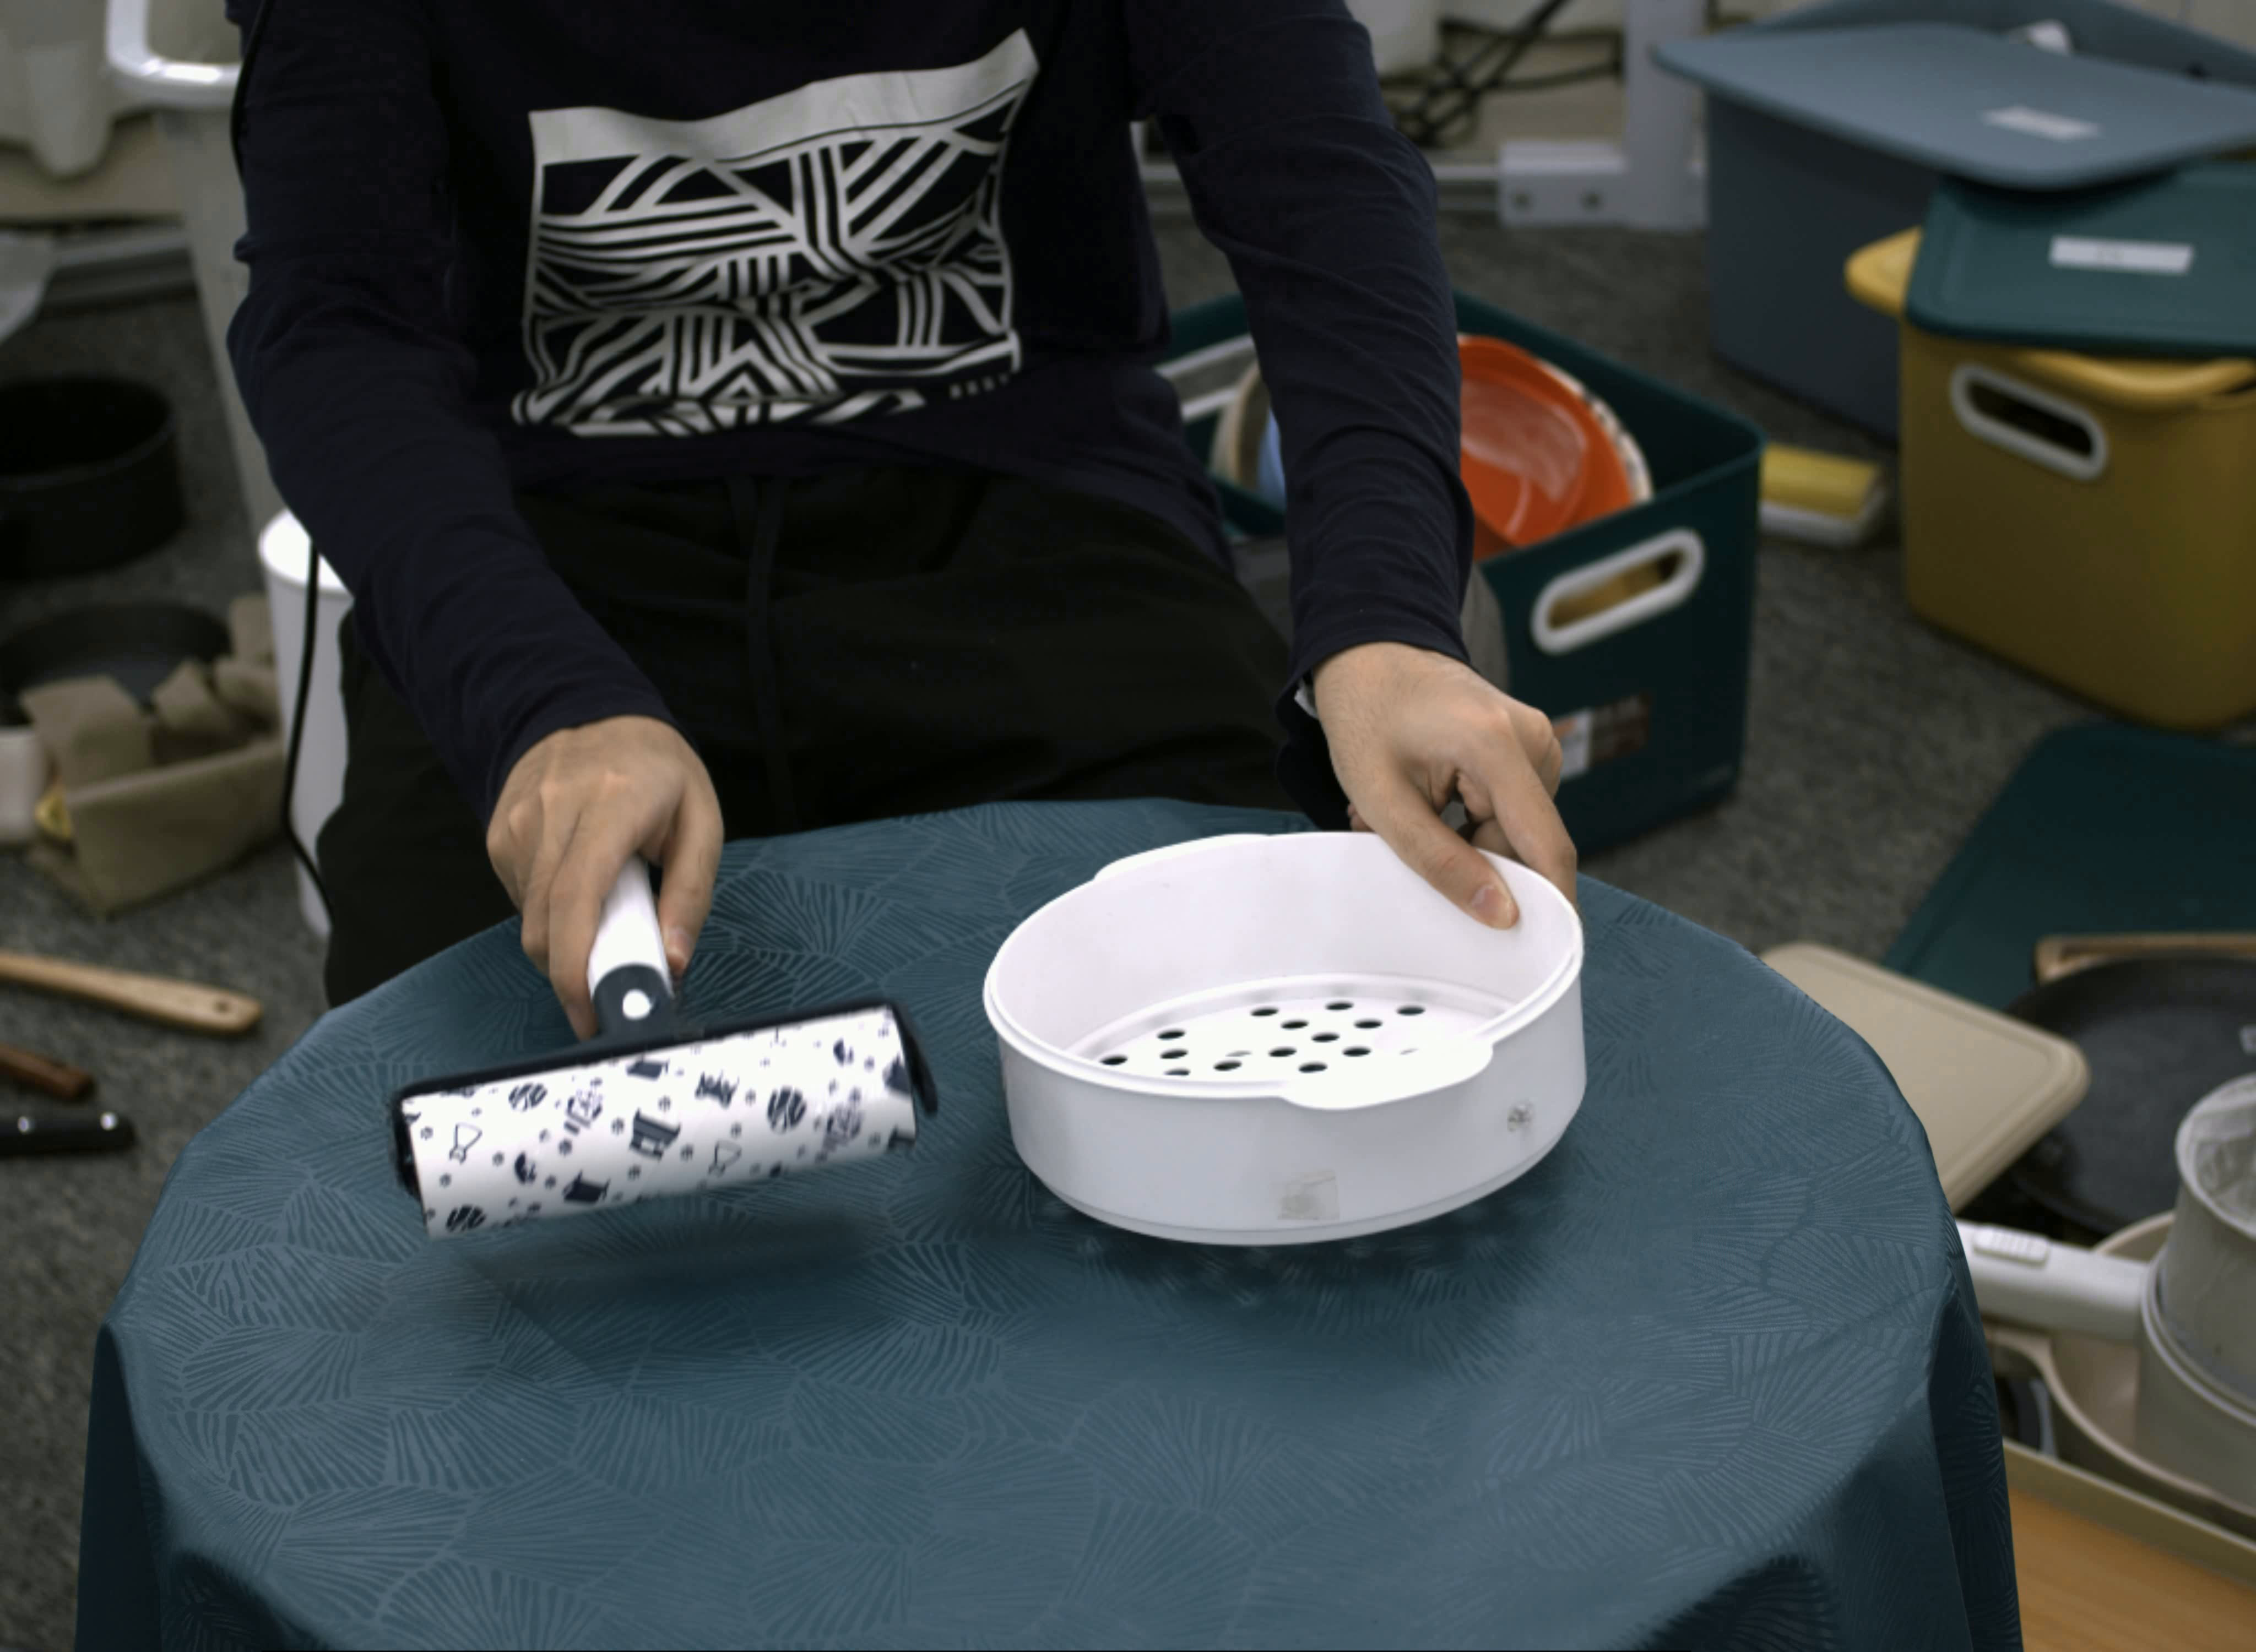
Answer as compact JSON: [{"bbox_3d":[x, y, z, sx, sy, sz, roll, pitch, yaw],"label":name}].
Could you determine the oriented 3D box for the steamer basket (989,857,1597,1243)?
[{"bbox_3d":[0.057,0.075,1.865,0.202,0.069,0.231,-12,19,-14],"label":"steamer basket"}]

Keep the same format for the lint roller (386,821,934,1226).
[{"bbox_3d":[-0.171,0.049,1.898,0.176,0.050,0.249,-12,26,-8],"label":"lint roller"}]
